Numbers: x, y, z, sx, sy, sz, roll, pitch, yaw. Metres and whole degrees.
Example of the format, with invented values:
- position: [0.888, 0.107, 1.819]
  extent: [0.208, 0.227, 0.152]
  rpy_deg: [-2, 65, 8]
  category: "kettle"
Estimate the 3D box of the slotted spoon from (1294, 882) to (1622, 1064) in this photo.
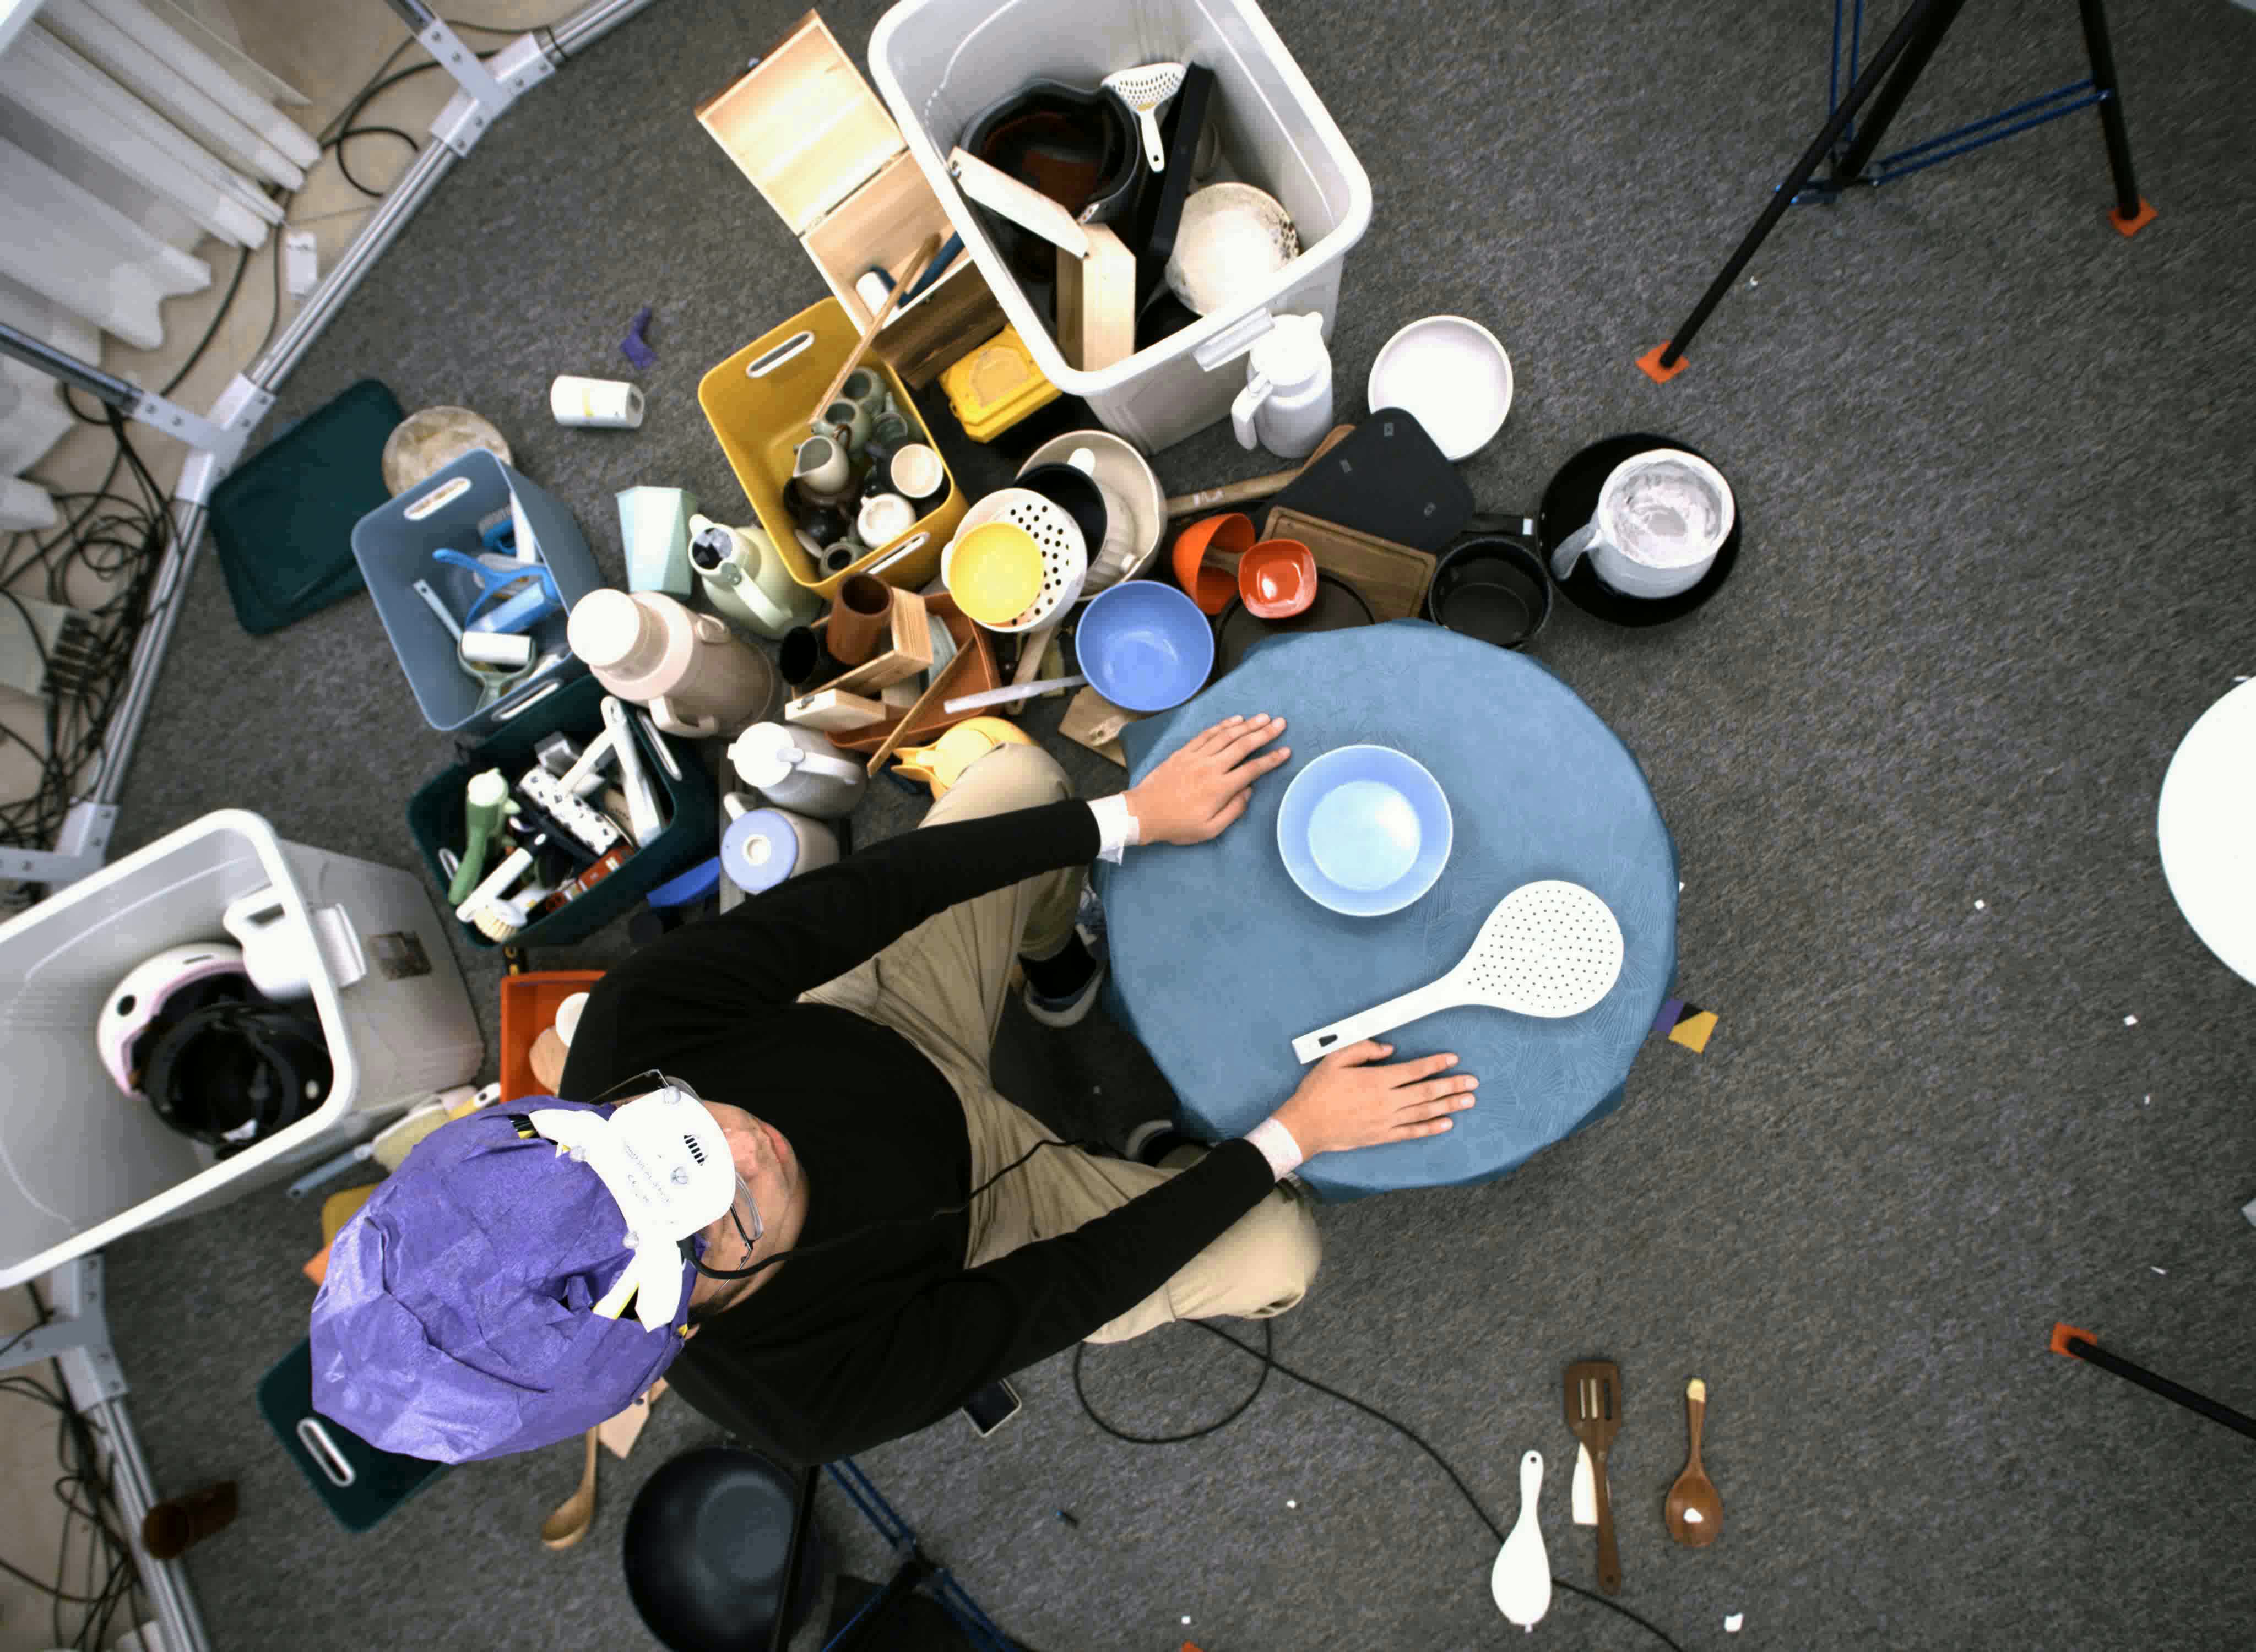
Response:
- position: [0.334, 0.167, 1.420]
  extent: [0.352, 0.046, 0.135]
  rpy_deg: [-24, 82, 9]
  category: "slotted spoon"

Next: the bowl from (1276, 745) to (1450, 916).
- position: [0.244, 0.006, 1.433]
  extent: [0.177, 0.070, 0.175]
  rpy_deg: [-1, 87, 11]
  category: "bowl"
